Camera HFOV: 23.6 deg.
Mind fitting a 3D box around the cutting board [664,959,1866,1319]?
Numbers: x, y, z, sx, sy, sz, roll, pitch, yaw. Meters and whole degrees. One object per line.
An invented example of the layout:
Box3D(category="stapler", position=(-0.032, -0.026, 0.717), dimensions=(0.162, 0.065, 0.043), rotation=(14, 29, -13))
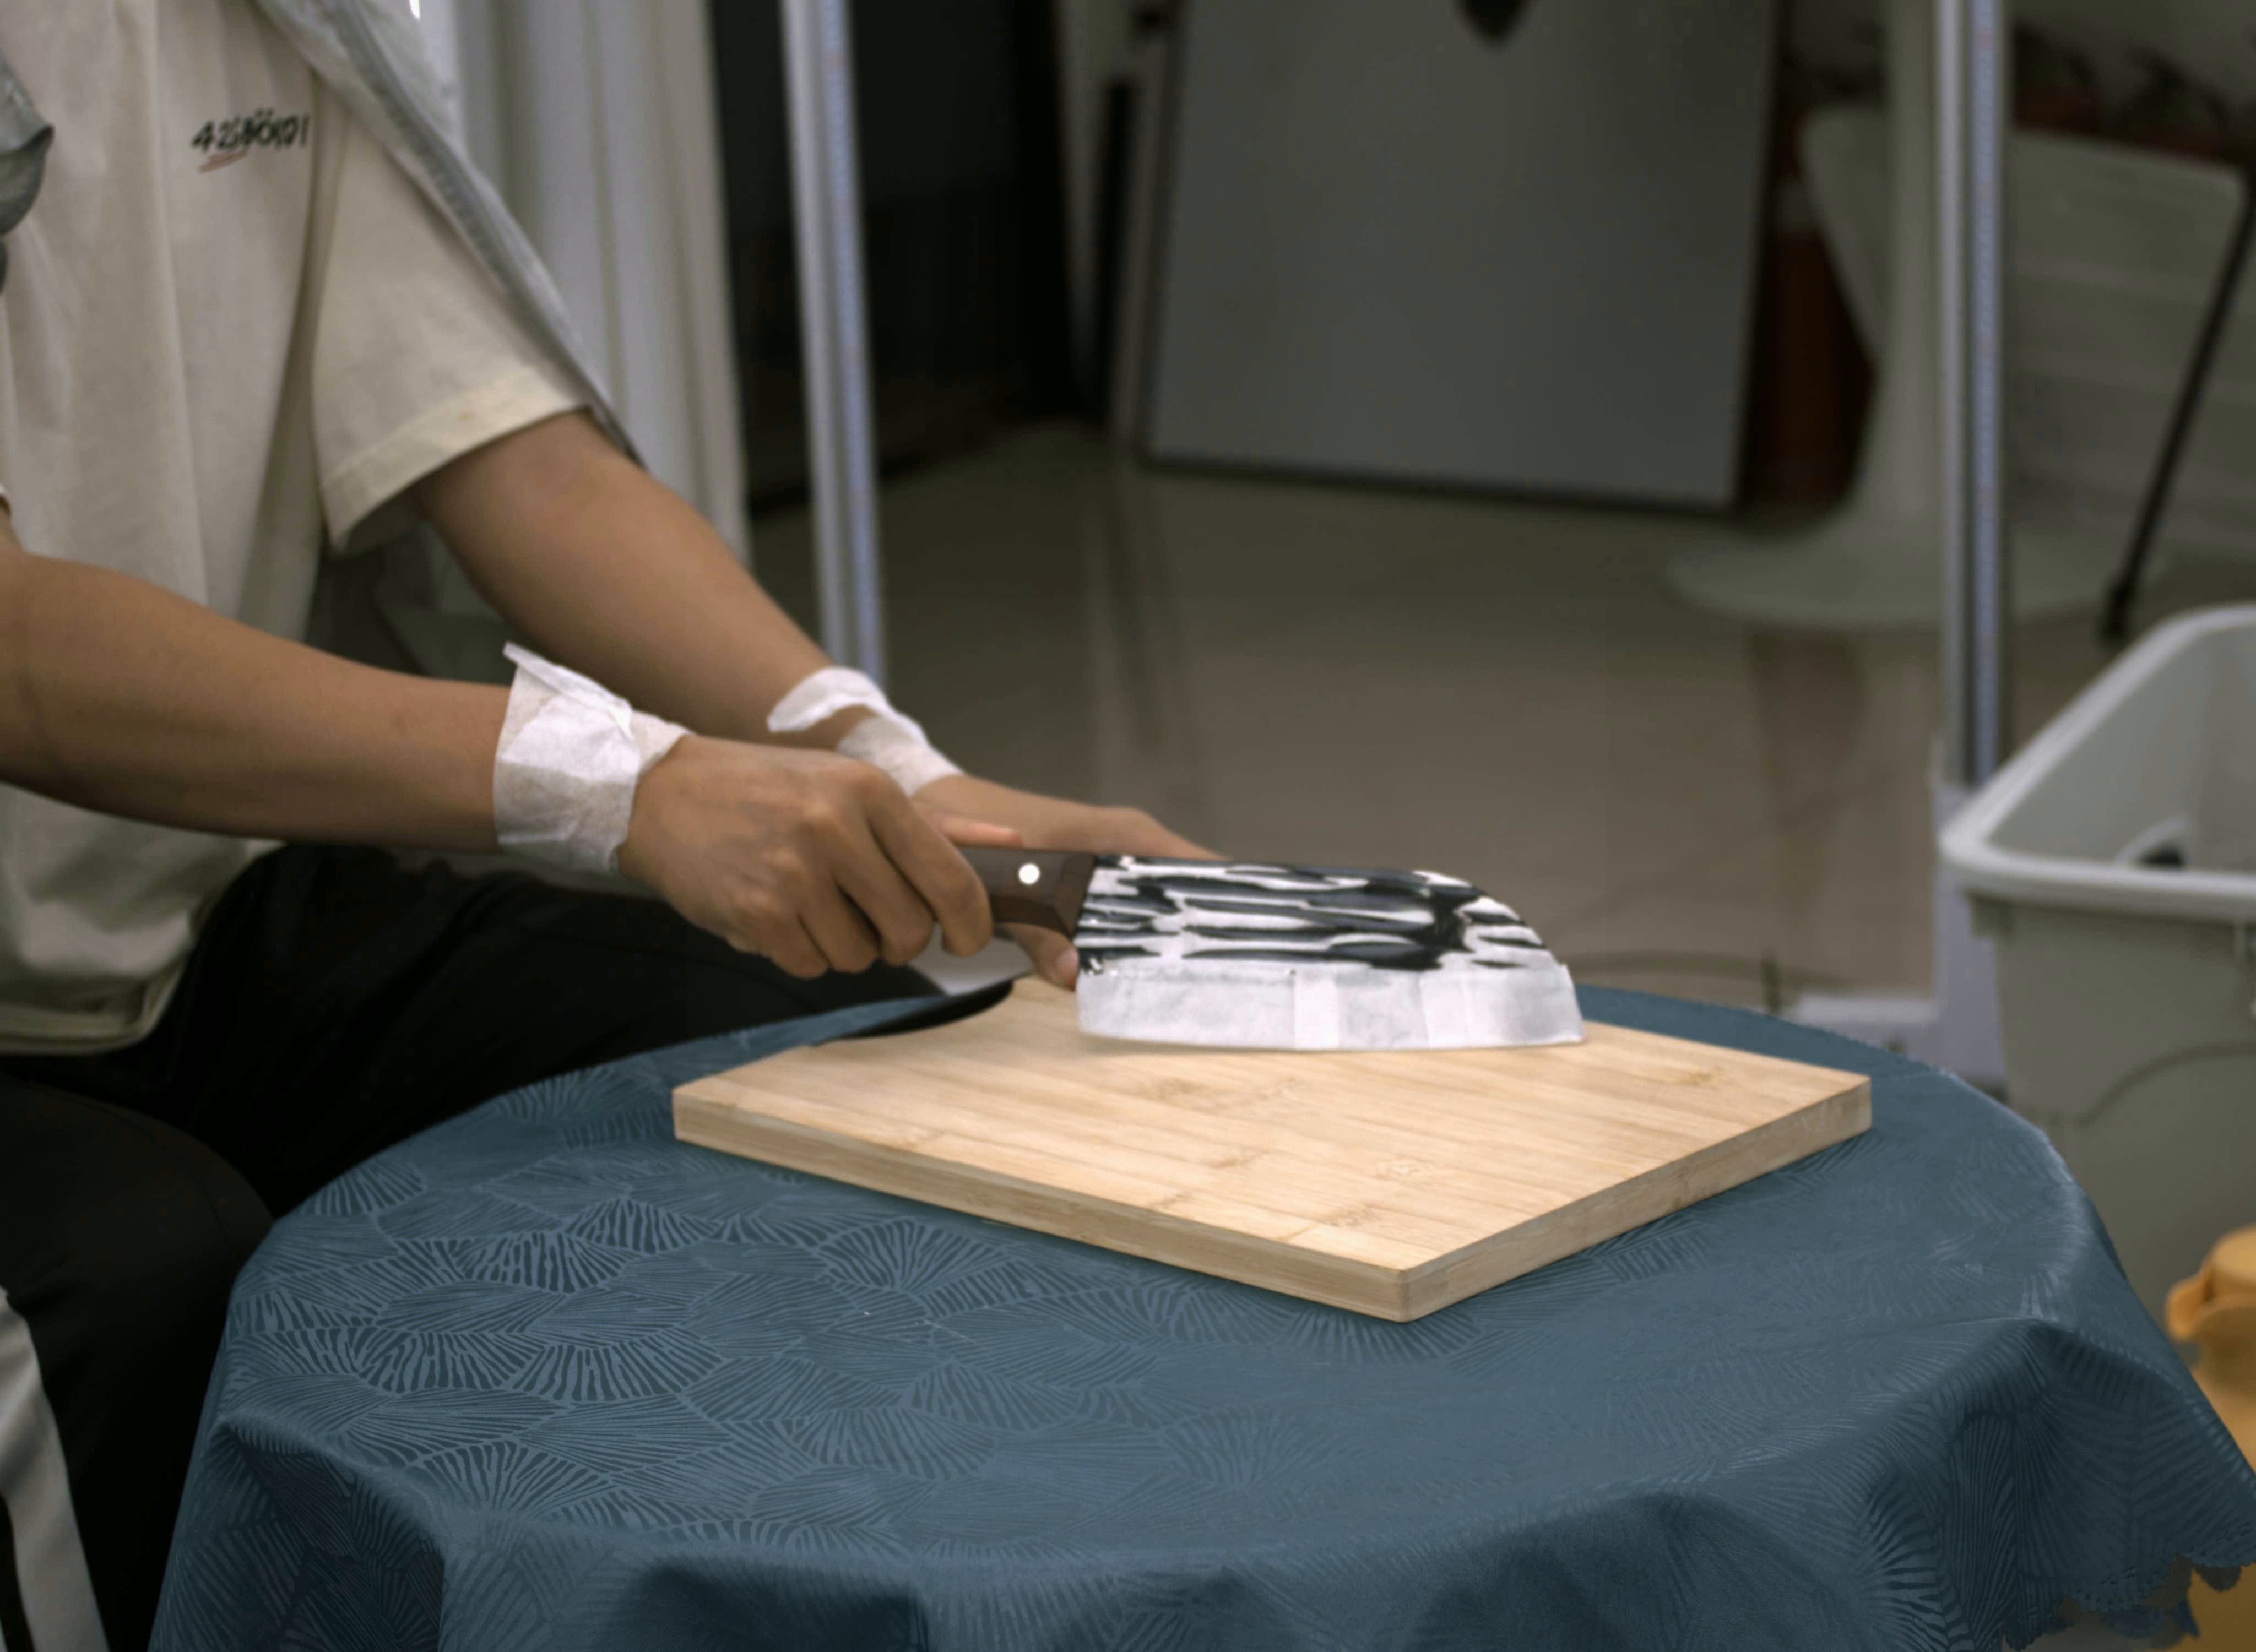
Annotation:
Box3D(category="cutting board", position=(0.042, 0.097, 1.828), dimensions=(0.352, 0.024, 0.245), rotation=(9, 19, 43))

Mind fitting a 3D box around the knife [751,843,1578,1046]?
Box3D(category="knife", position=(0.011, 0.042, 1.875), dimensions=(0.297, 0.069, 0.024), rotation=(4, -19, 10))
